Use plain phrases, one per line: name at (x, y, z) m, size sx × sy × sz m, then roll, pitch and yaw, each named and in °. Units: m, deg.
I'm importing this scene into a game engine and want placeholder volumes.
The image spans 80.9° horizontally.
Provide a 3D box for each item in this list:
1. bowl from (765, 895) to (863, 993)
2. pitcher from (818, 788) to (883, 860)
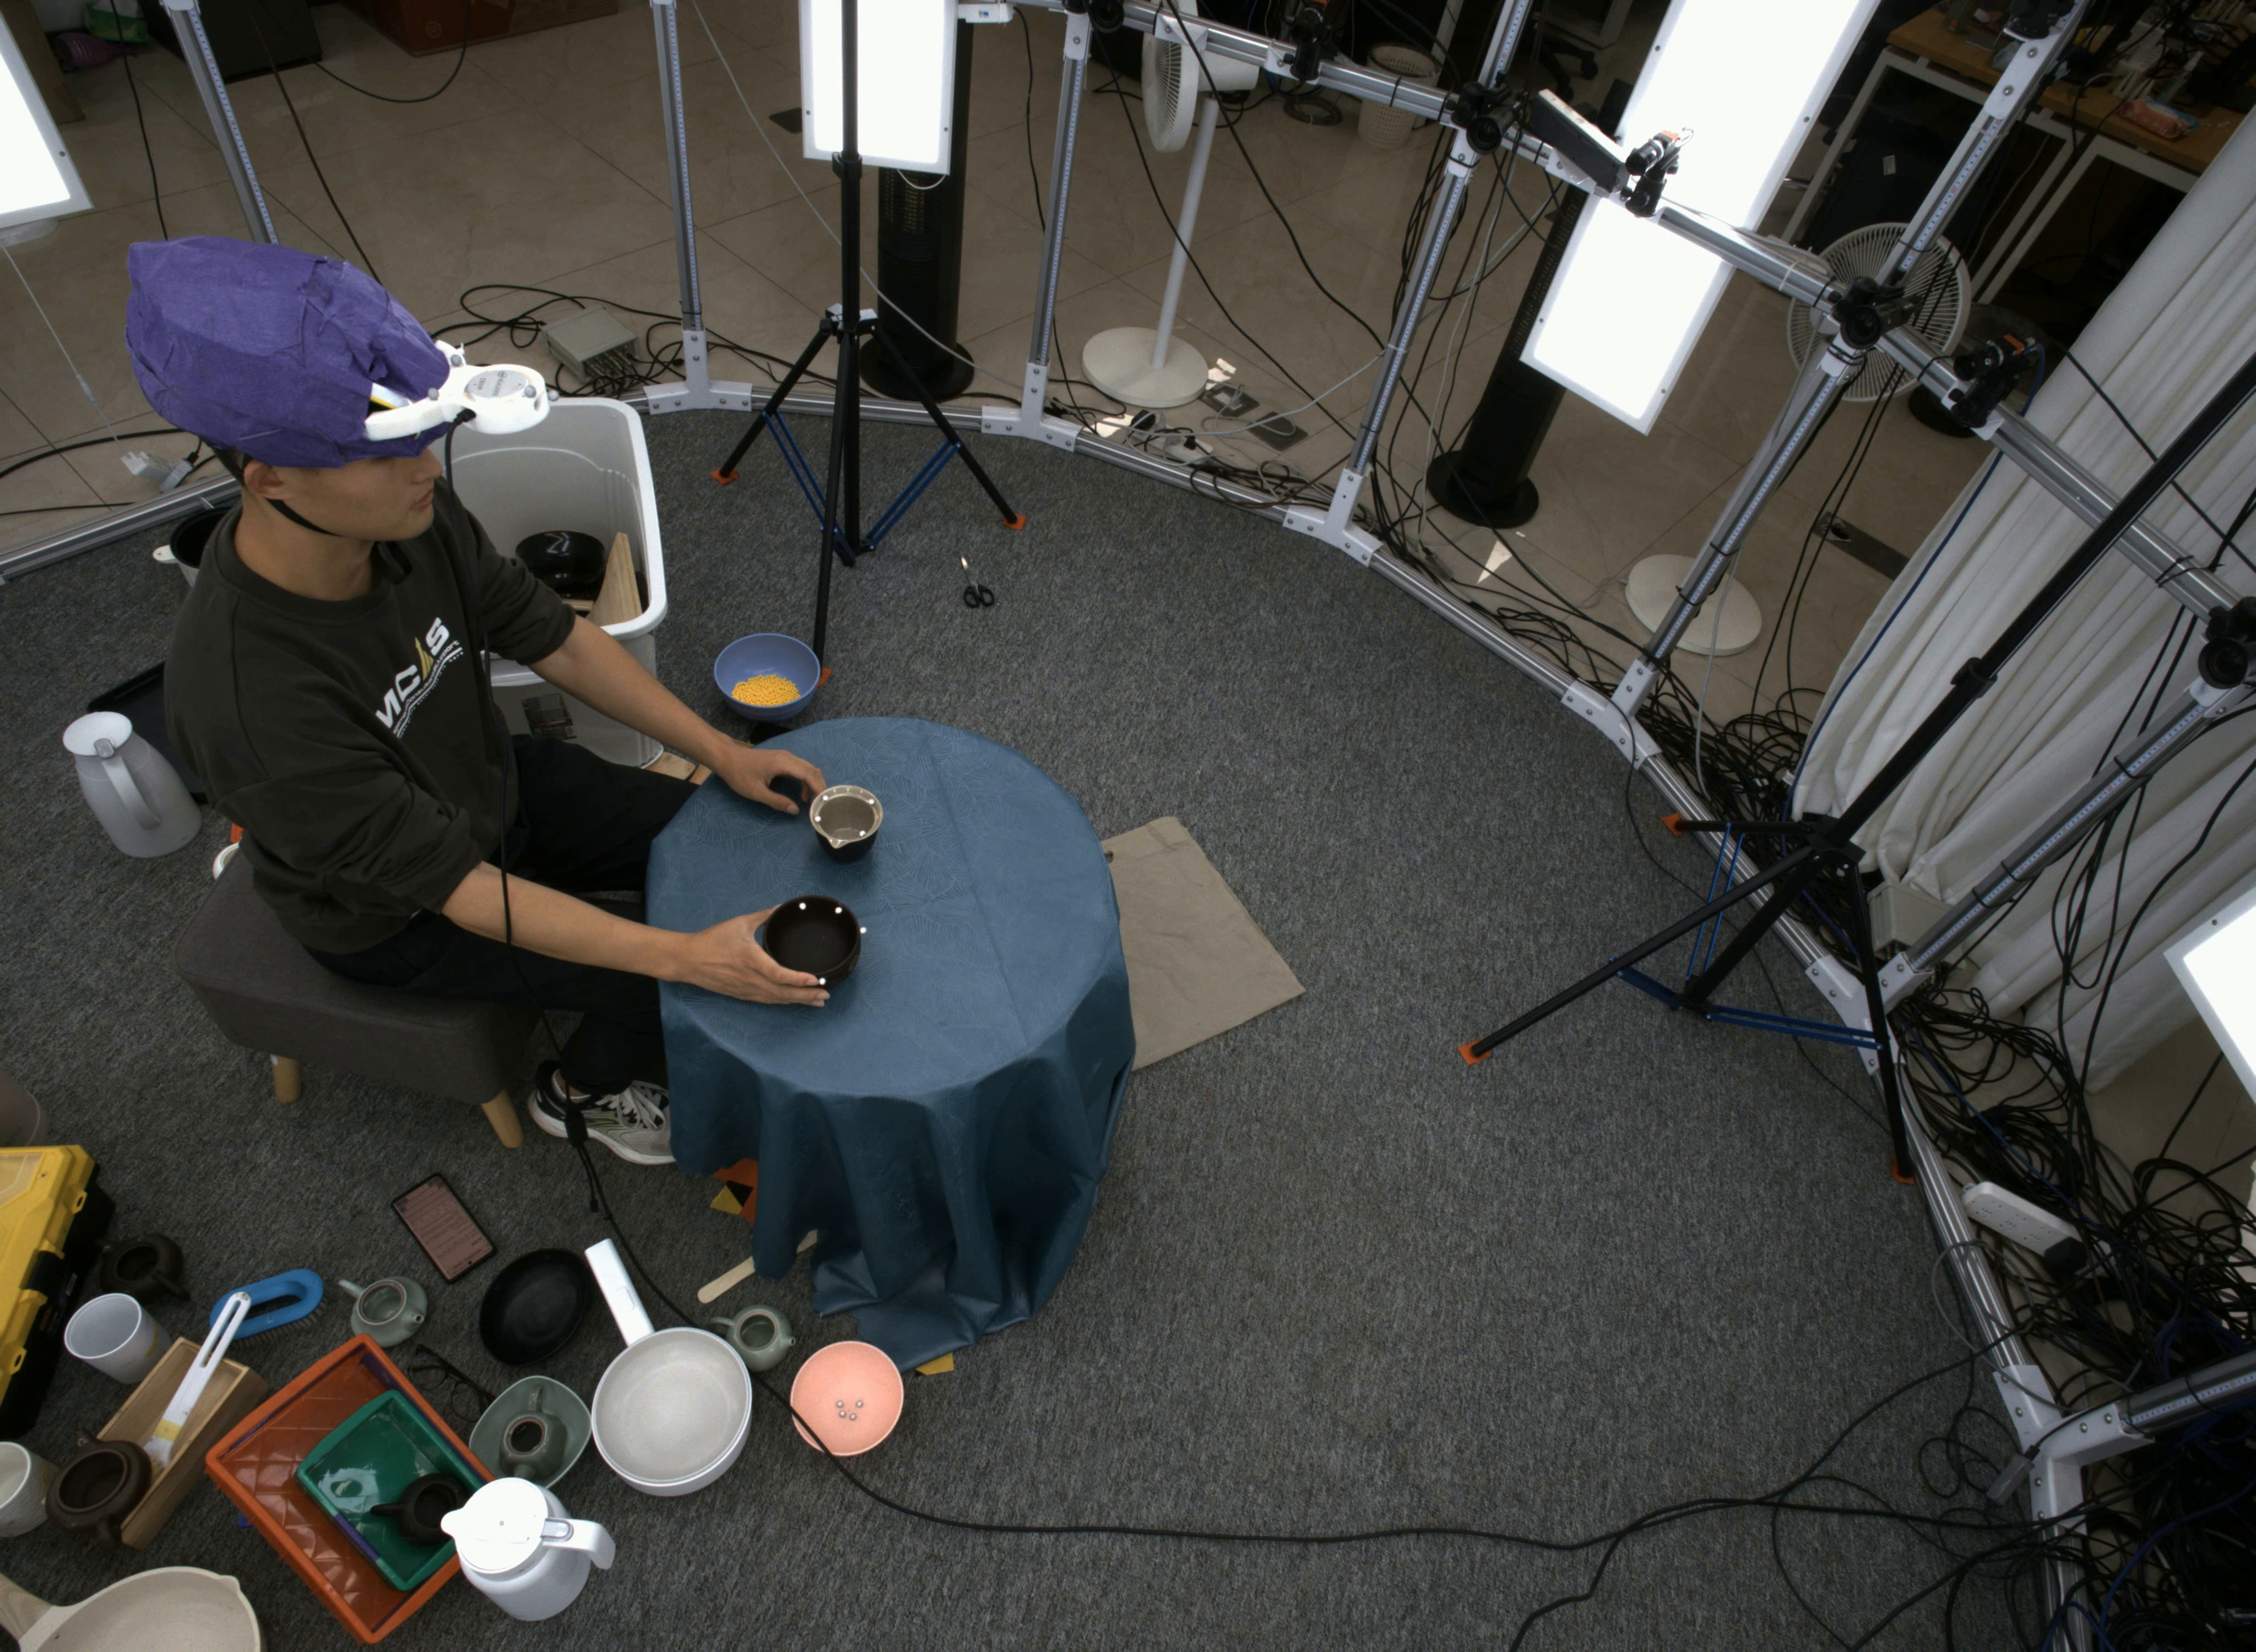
bowl at (-0.382, 0.149, 1.585) m, size 0.117 × 0.071 × 0.116 m, roll 6°, pitch 53°, yaw -6°
pitcher at (-0.365, 0.006, 1.698) m, size 0.083 × 0.073 × 0.095 m, roll 17°, pitch 53°, yaw -2°
